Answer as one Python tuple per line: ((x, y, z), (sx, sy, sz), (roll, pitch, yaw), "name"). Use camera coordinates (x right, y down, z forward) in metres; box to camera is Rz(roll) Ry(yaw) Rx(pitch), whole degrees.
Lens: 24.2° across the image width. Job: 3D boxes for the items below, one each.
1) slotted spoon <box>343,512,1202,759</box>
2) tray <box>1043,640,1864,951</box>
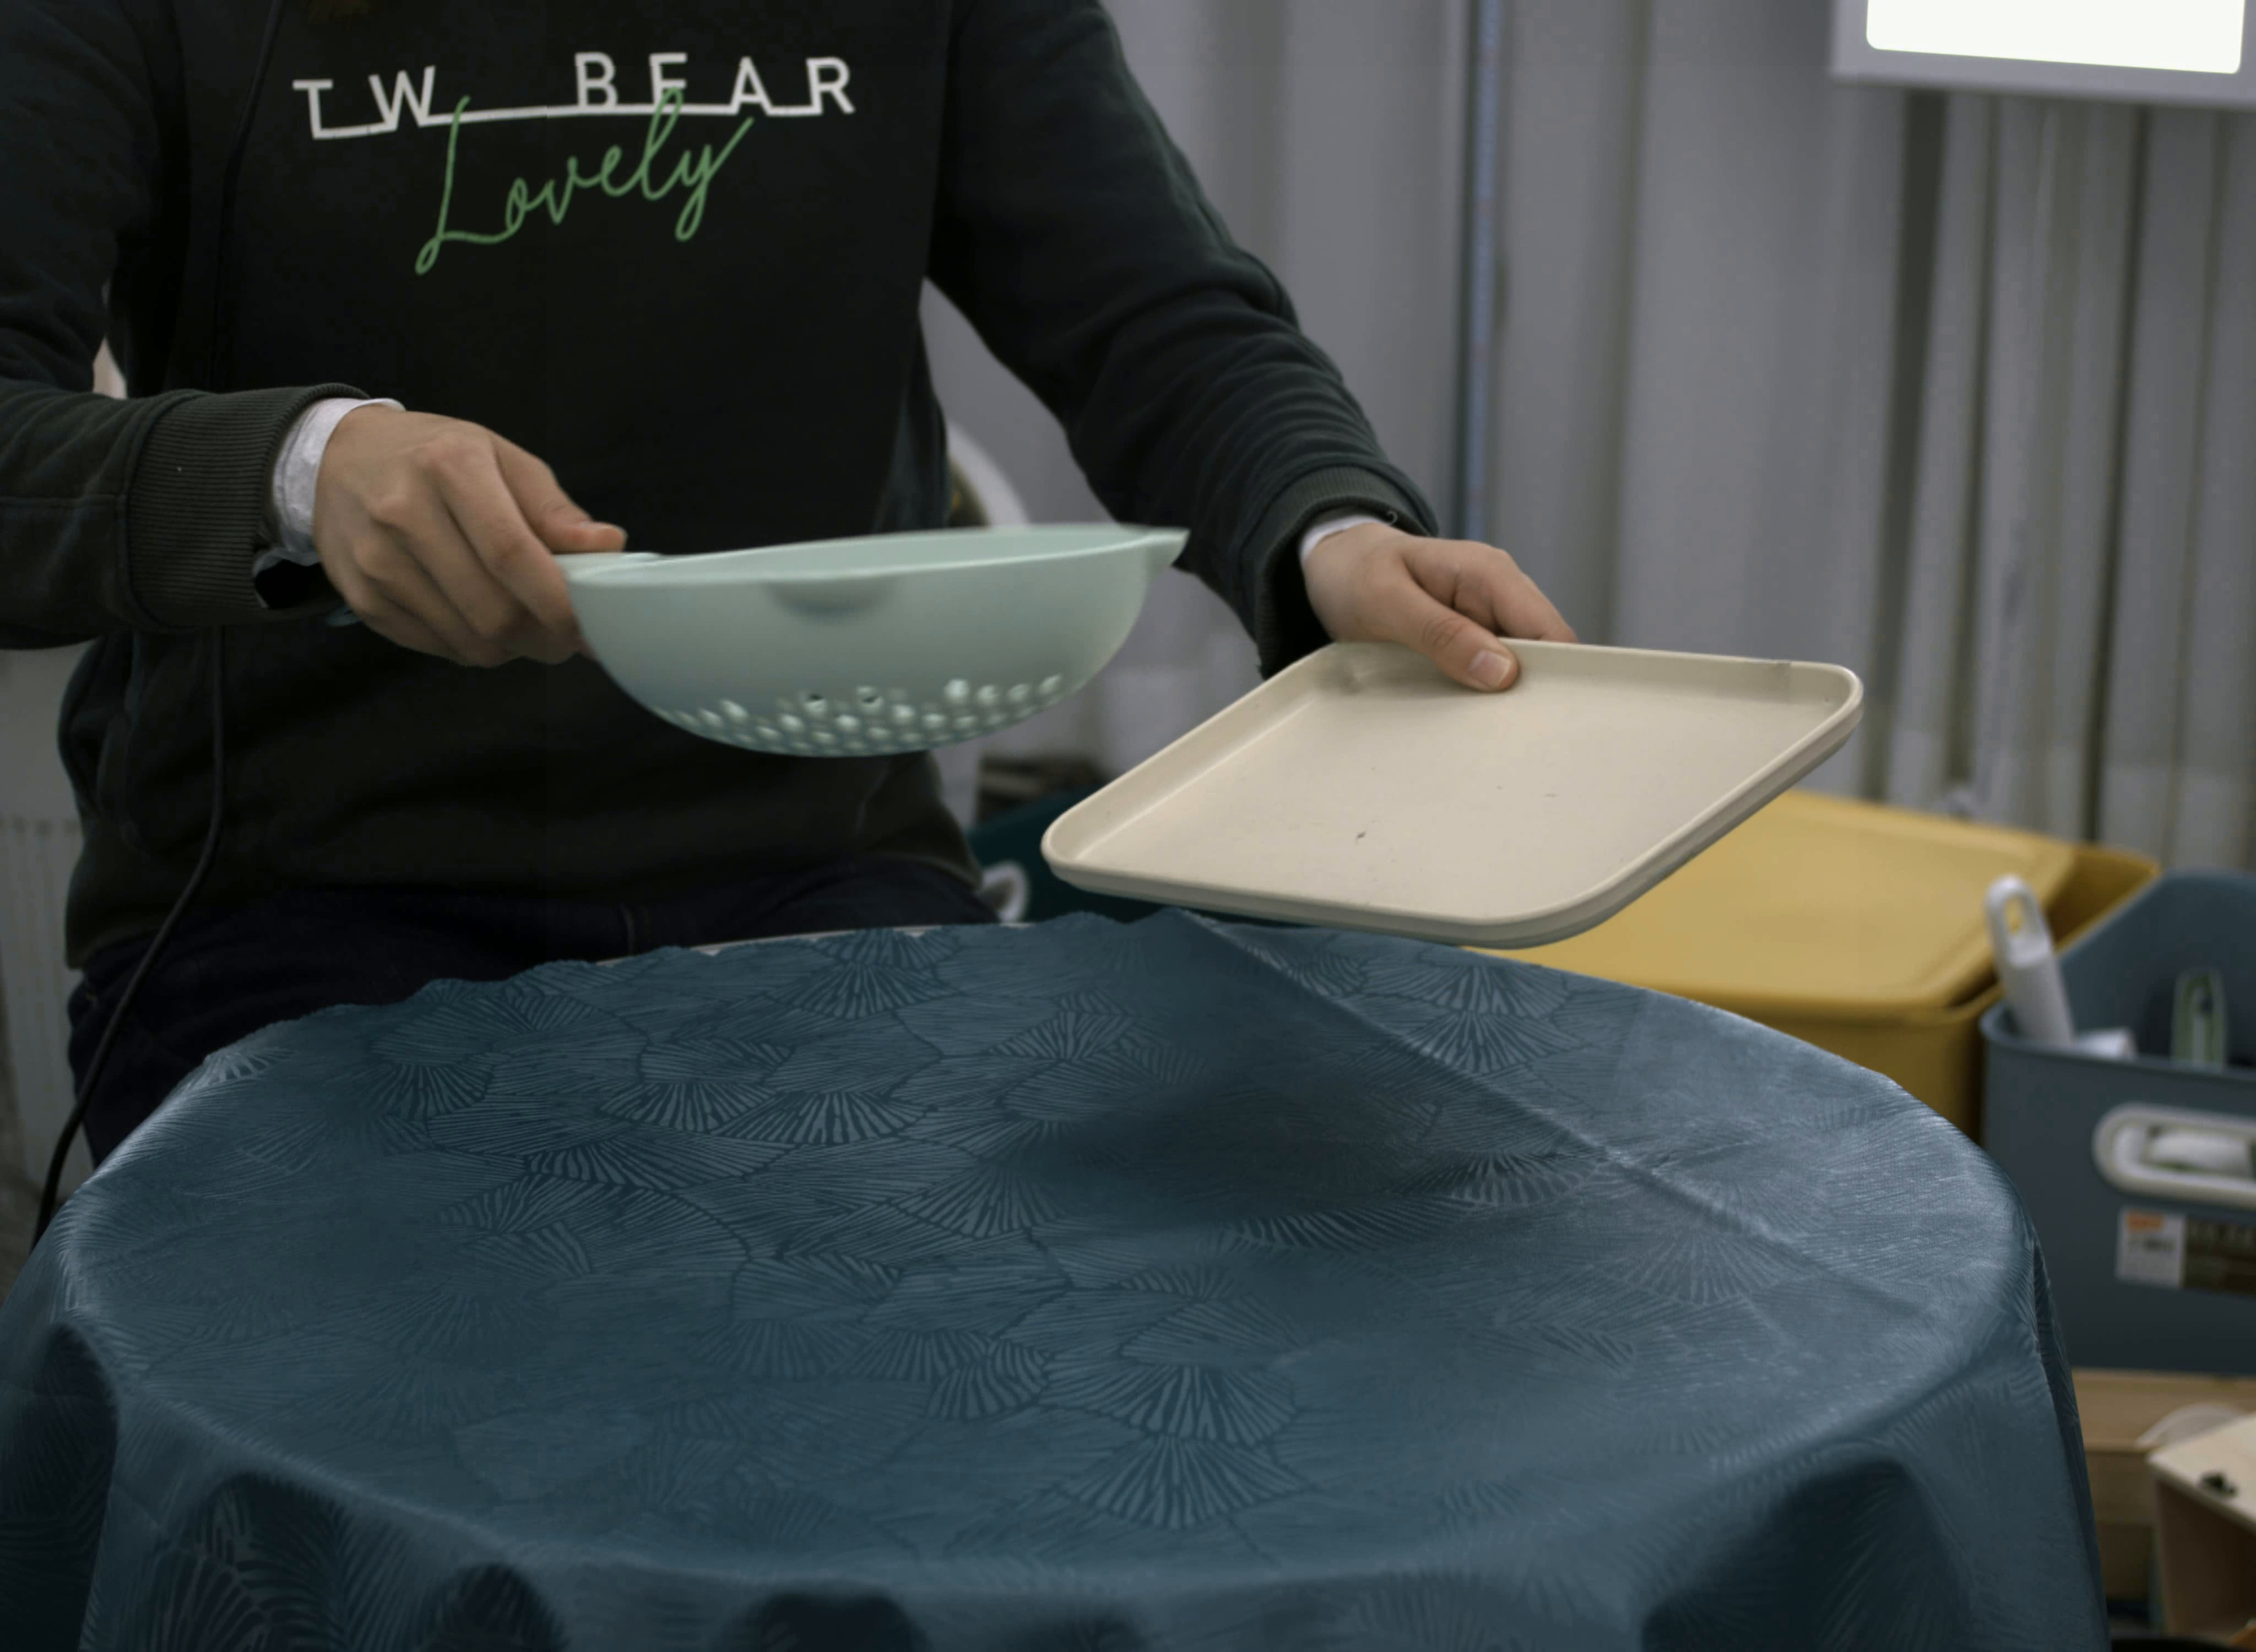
((-0.134, -0.069, 1.567), (0.170, 0.076, 0.354), (-11, 17, -40), "slotted spoon")
((0.100, -0.011, 1.633), (0.237, 0.017, 0.171), (6, 32, 47), "tray")
